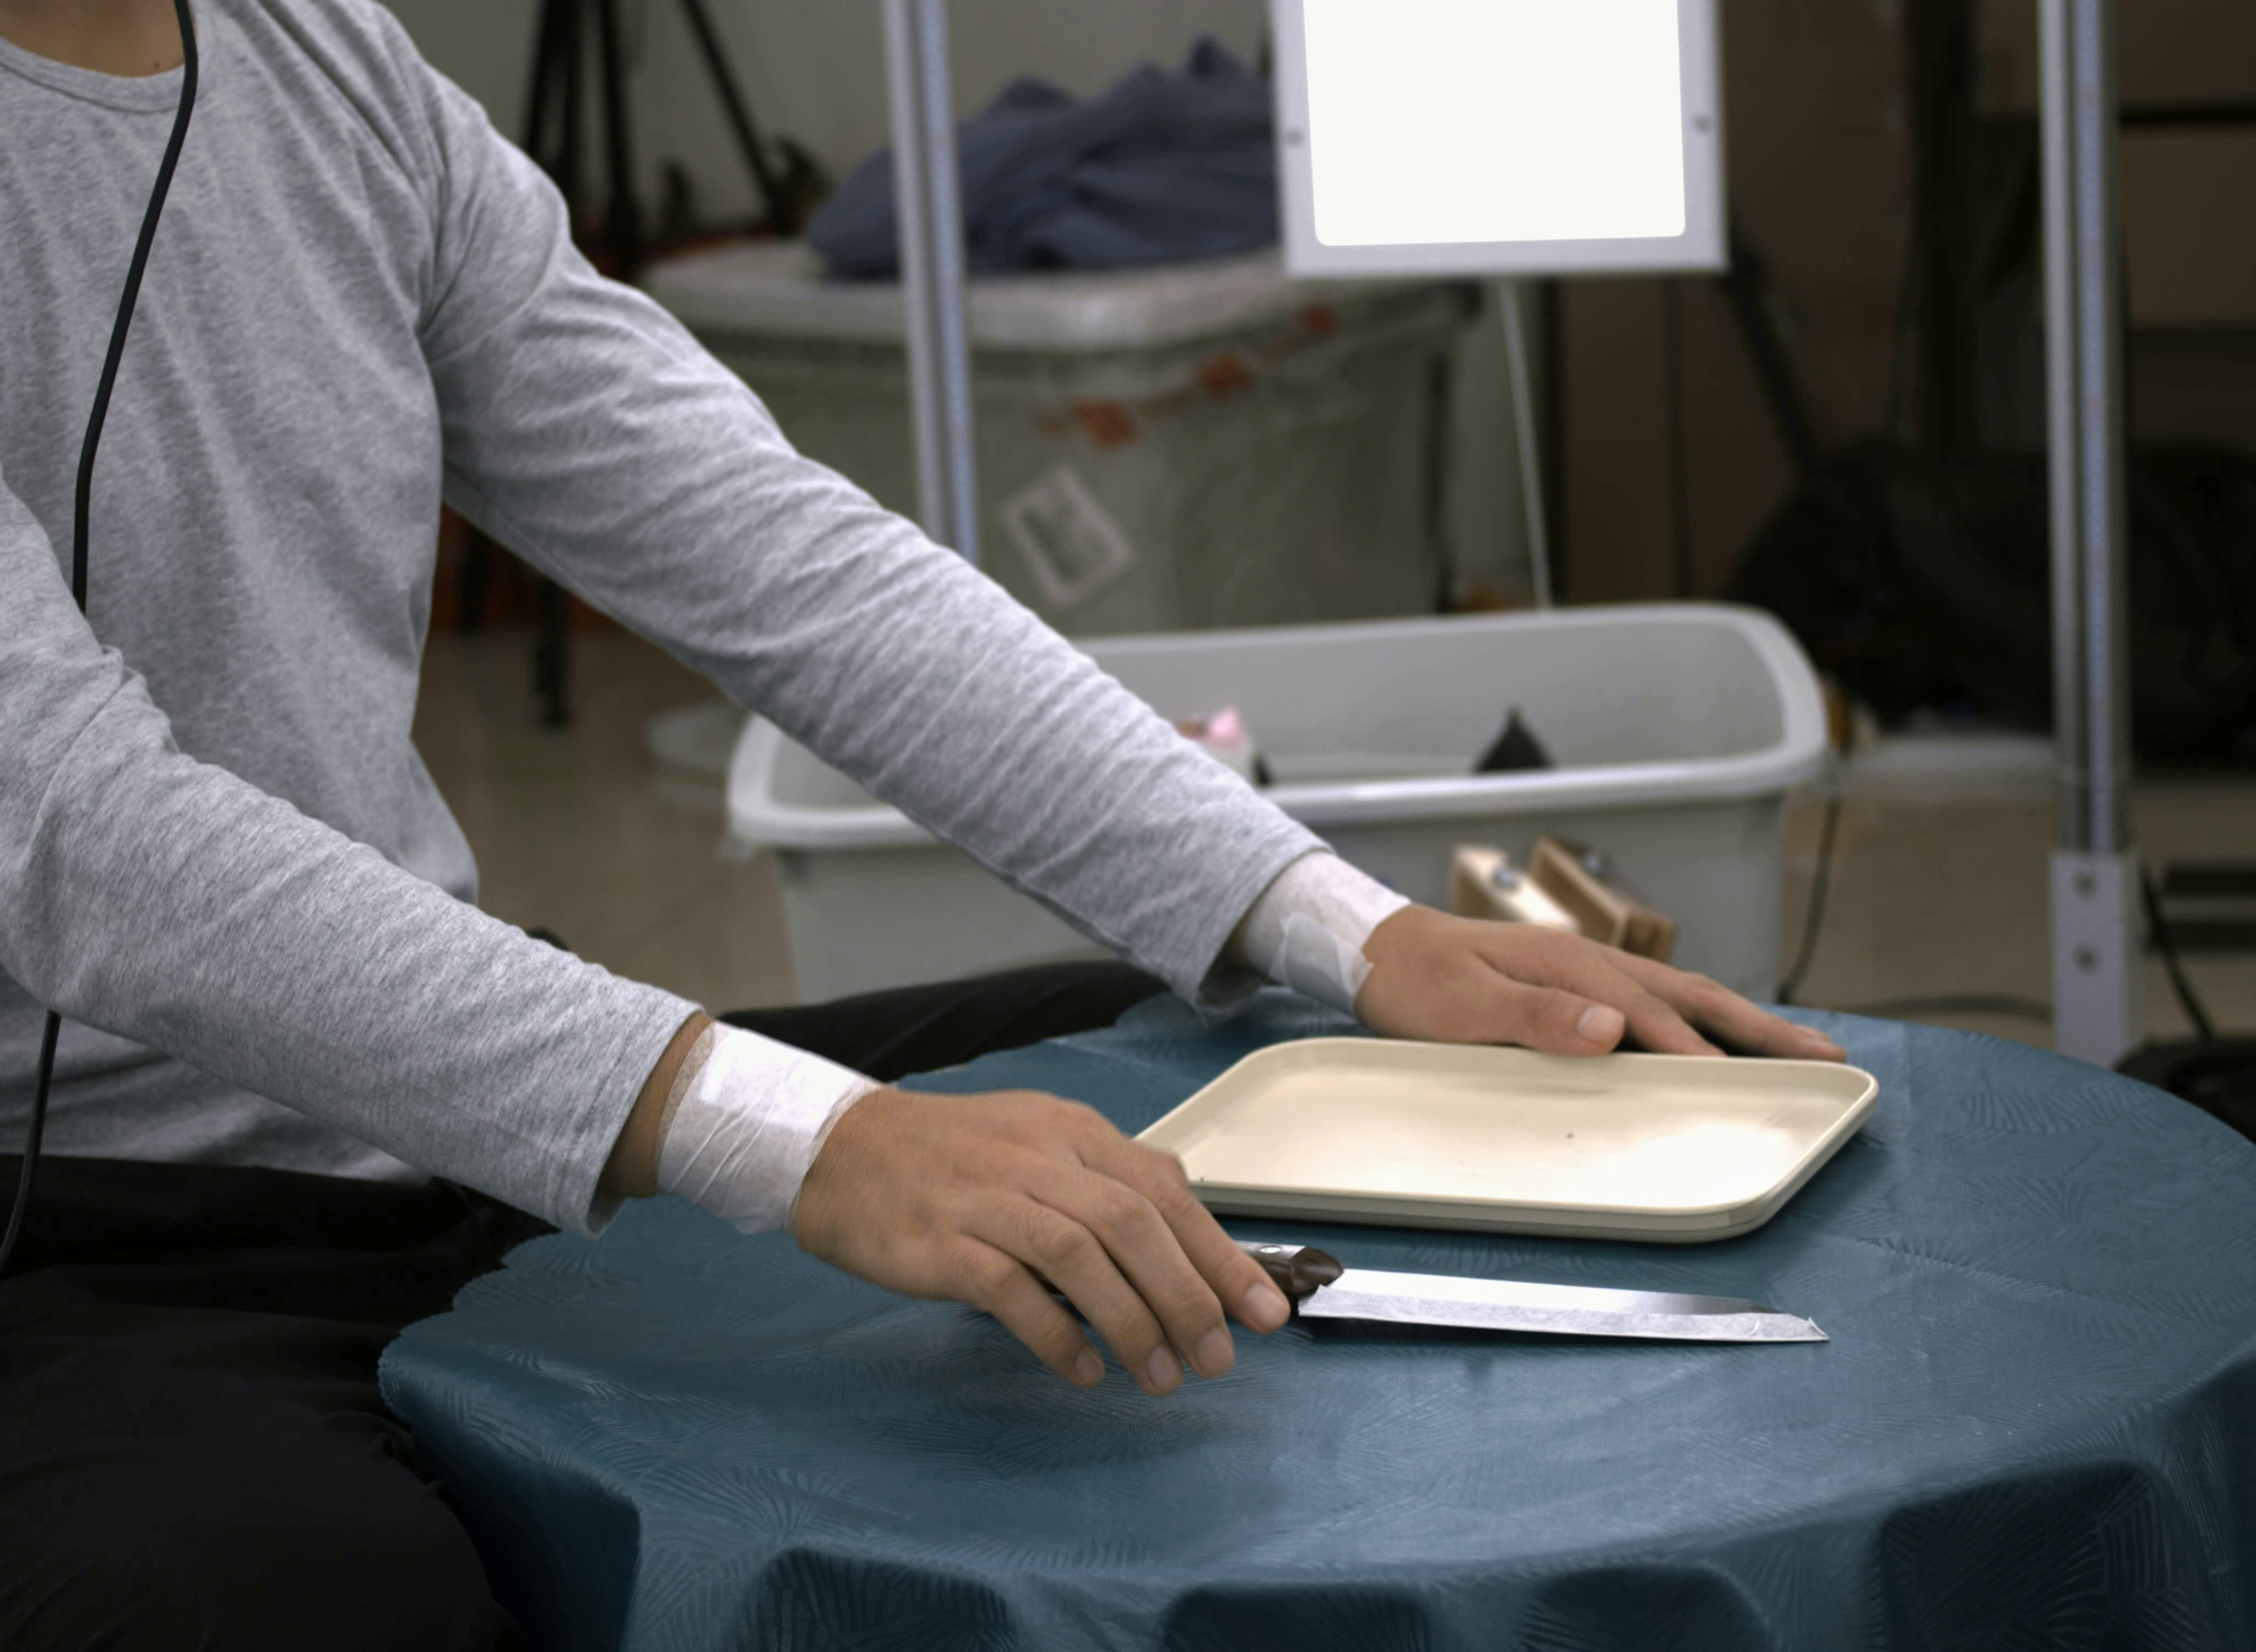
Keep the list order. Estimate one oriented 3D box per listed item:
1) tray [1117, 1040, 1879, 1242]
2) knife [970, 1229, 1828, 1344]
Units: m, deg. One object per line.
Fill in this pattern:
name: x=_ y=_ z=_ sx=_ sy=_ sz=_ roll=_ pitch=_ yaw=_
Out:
tray: x=0.129 y=0.108 z=1.895 sx=0.244 sy=0.017 sz=0.167 roll=2 pitch=15 yaw=27
knife: x=0.082 y=0.149 z=1.749 sx=0.293 sy=0.020 sz=0.049 roll=3 pitch=17 yaw=21
